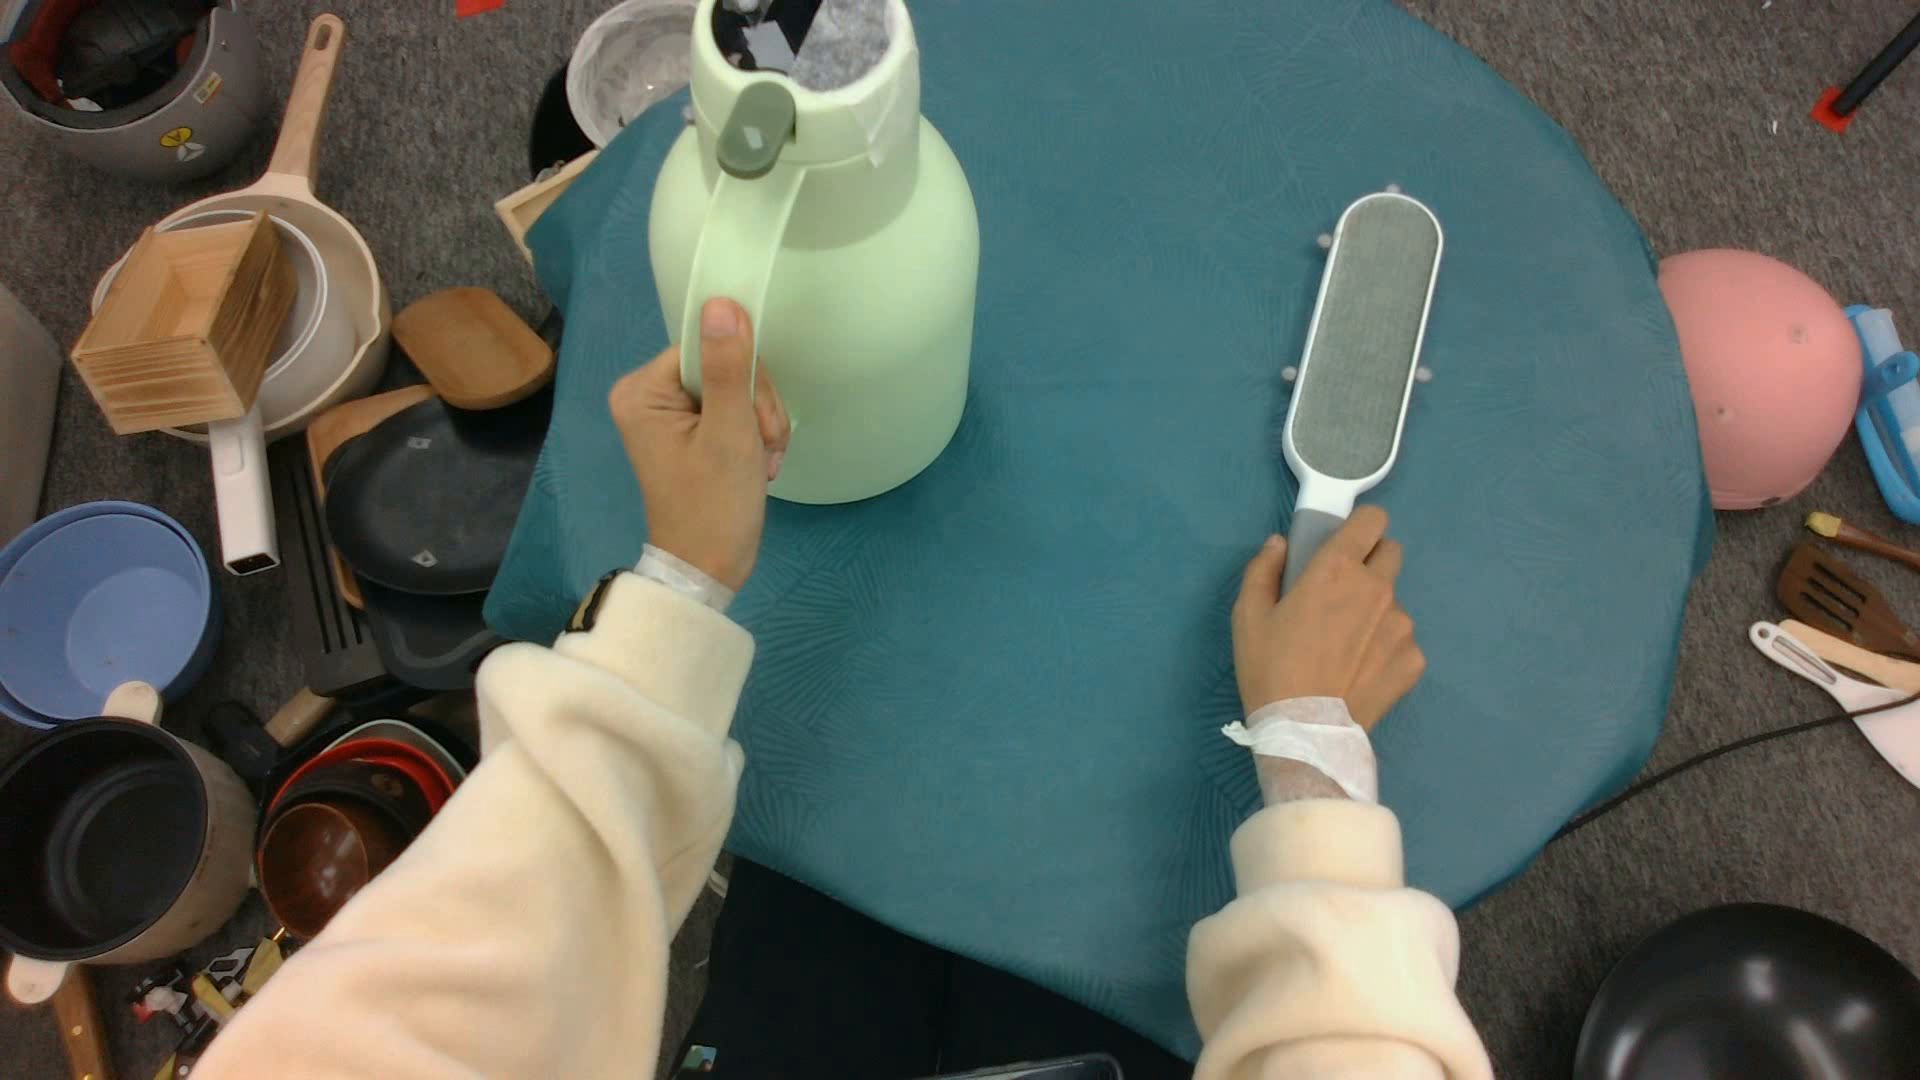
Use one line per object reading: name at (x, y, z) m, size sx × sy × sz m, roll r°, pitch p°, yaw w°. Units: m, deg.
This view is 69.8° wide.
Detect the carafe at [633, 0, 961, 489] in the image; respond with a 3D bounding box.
carafe at (-0.074, -0.120, 0.593) m, size 0.144 × 0.256 × 0.187 m, roll 18°, pitch 70°, yaw 1°

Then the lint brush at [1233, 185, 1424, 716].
lint brush at (0.184, -0.056, 0.702) m, size 0.060 × 0.021 × 0.310 m, roll 17°, pitch 69°, yaw 5°
